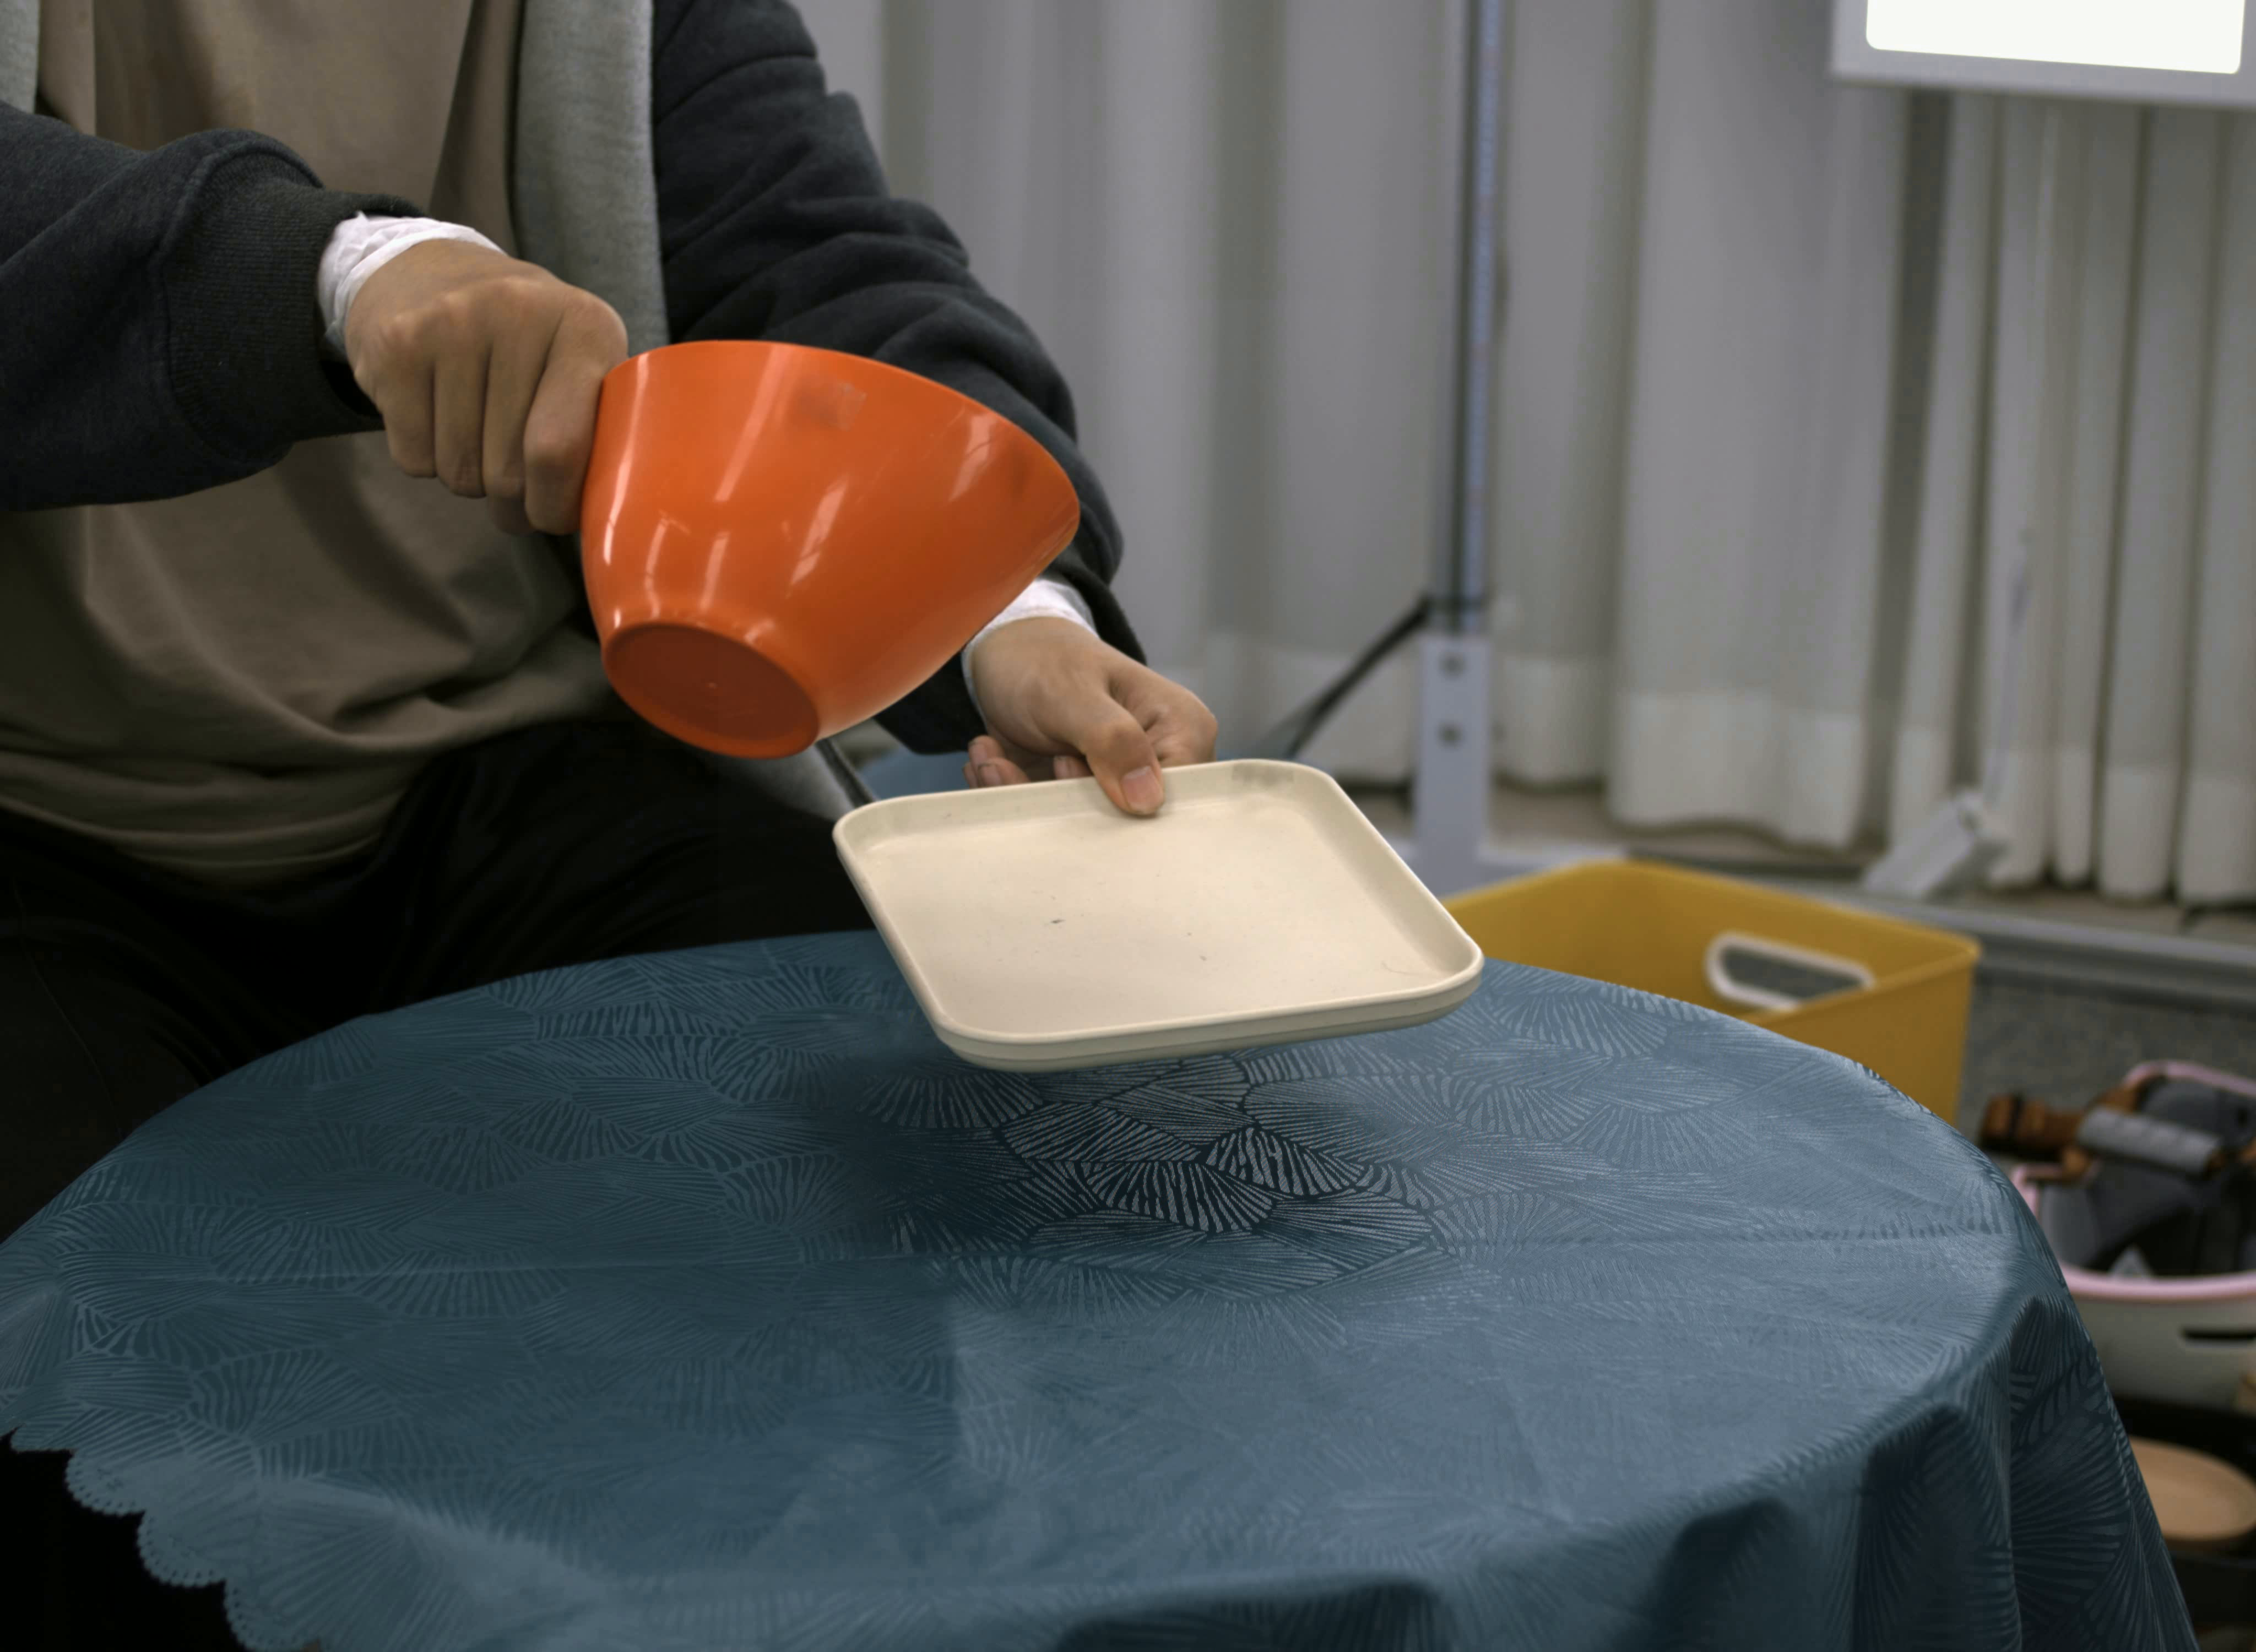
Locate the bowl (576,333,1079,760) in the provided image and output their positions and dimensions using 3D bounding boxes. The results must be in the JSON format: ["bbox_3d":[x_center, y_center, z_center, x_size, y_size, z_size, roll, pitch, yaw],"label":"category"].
[{"bbox_3d":[-0.099,-0.073,1.535,0.146,0.150,0.104,8,58,23],"label":"bowl"}]

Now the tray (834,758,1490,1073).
[{"bbox_3d":[0.007,0.027,1.659,0.171,0.017,0.237,-7,19,-11],"label":"tray"}]
